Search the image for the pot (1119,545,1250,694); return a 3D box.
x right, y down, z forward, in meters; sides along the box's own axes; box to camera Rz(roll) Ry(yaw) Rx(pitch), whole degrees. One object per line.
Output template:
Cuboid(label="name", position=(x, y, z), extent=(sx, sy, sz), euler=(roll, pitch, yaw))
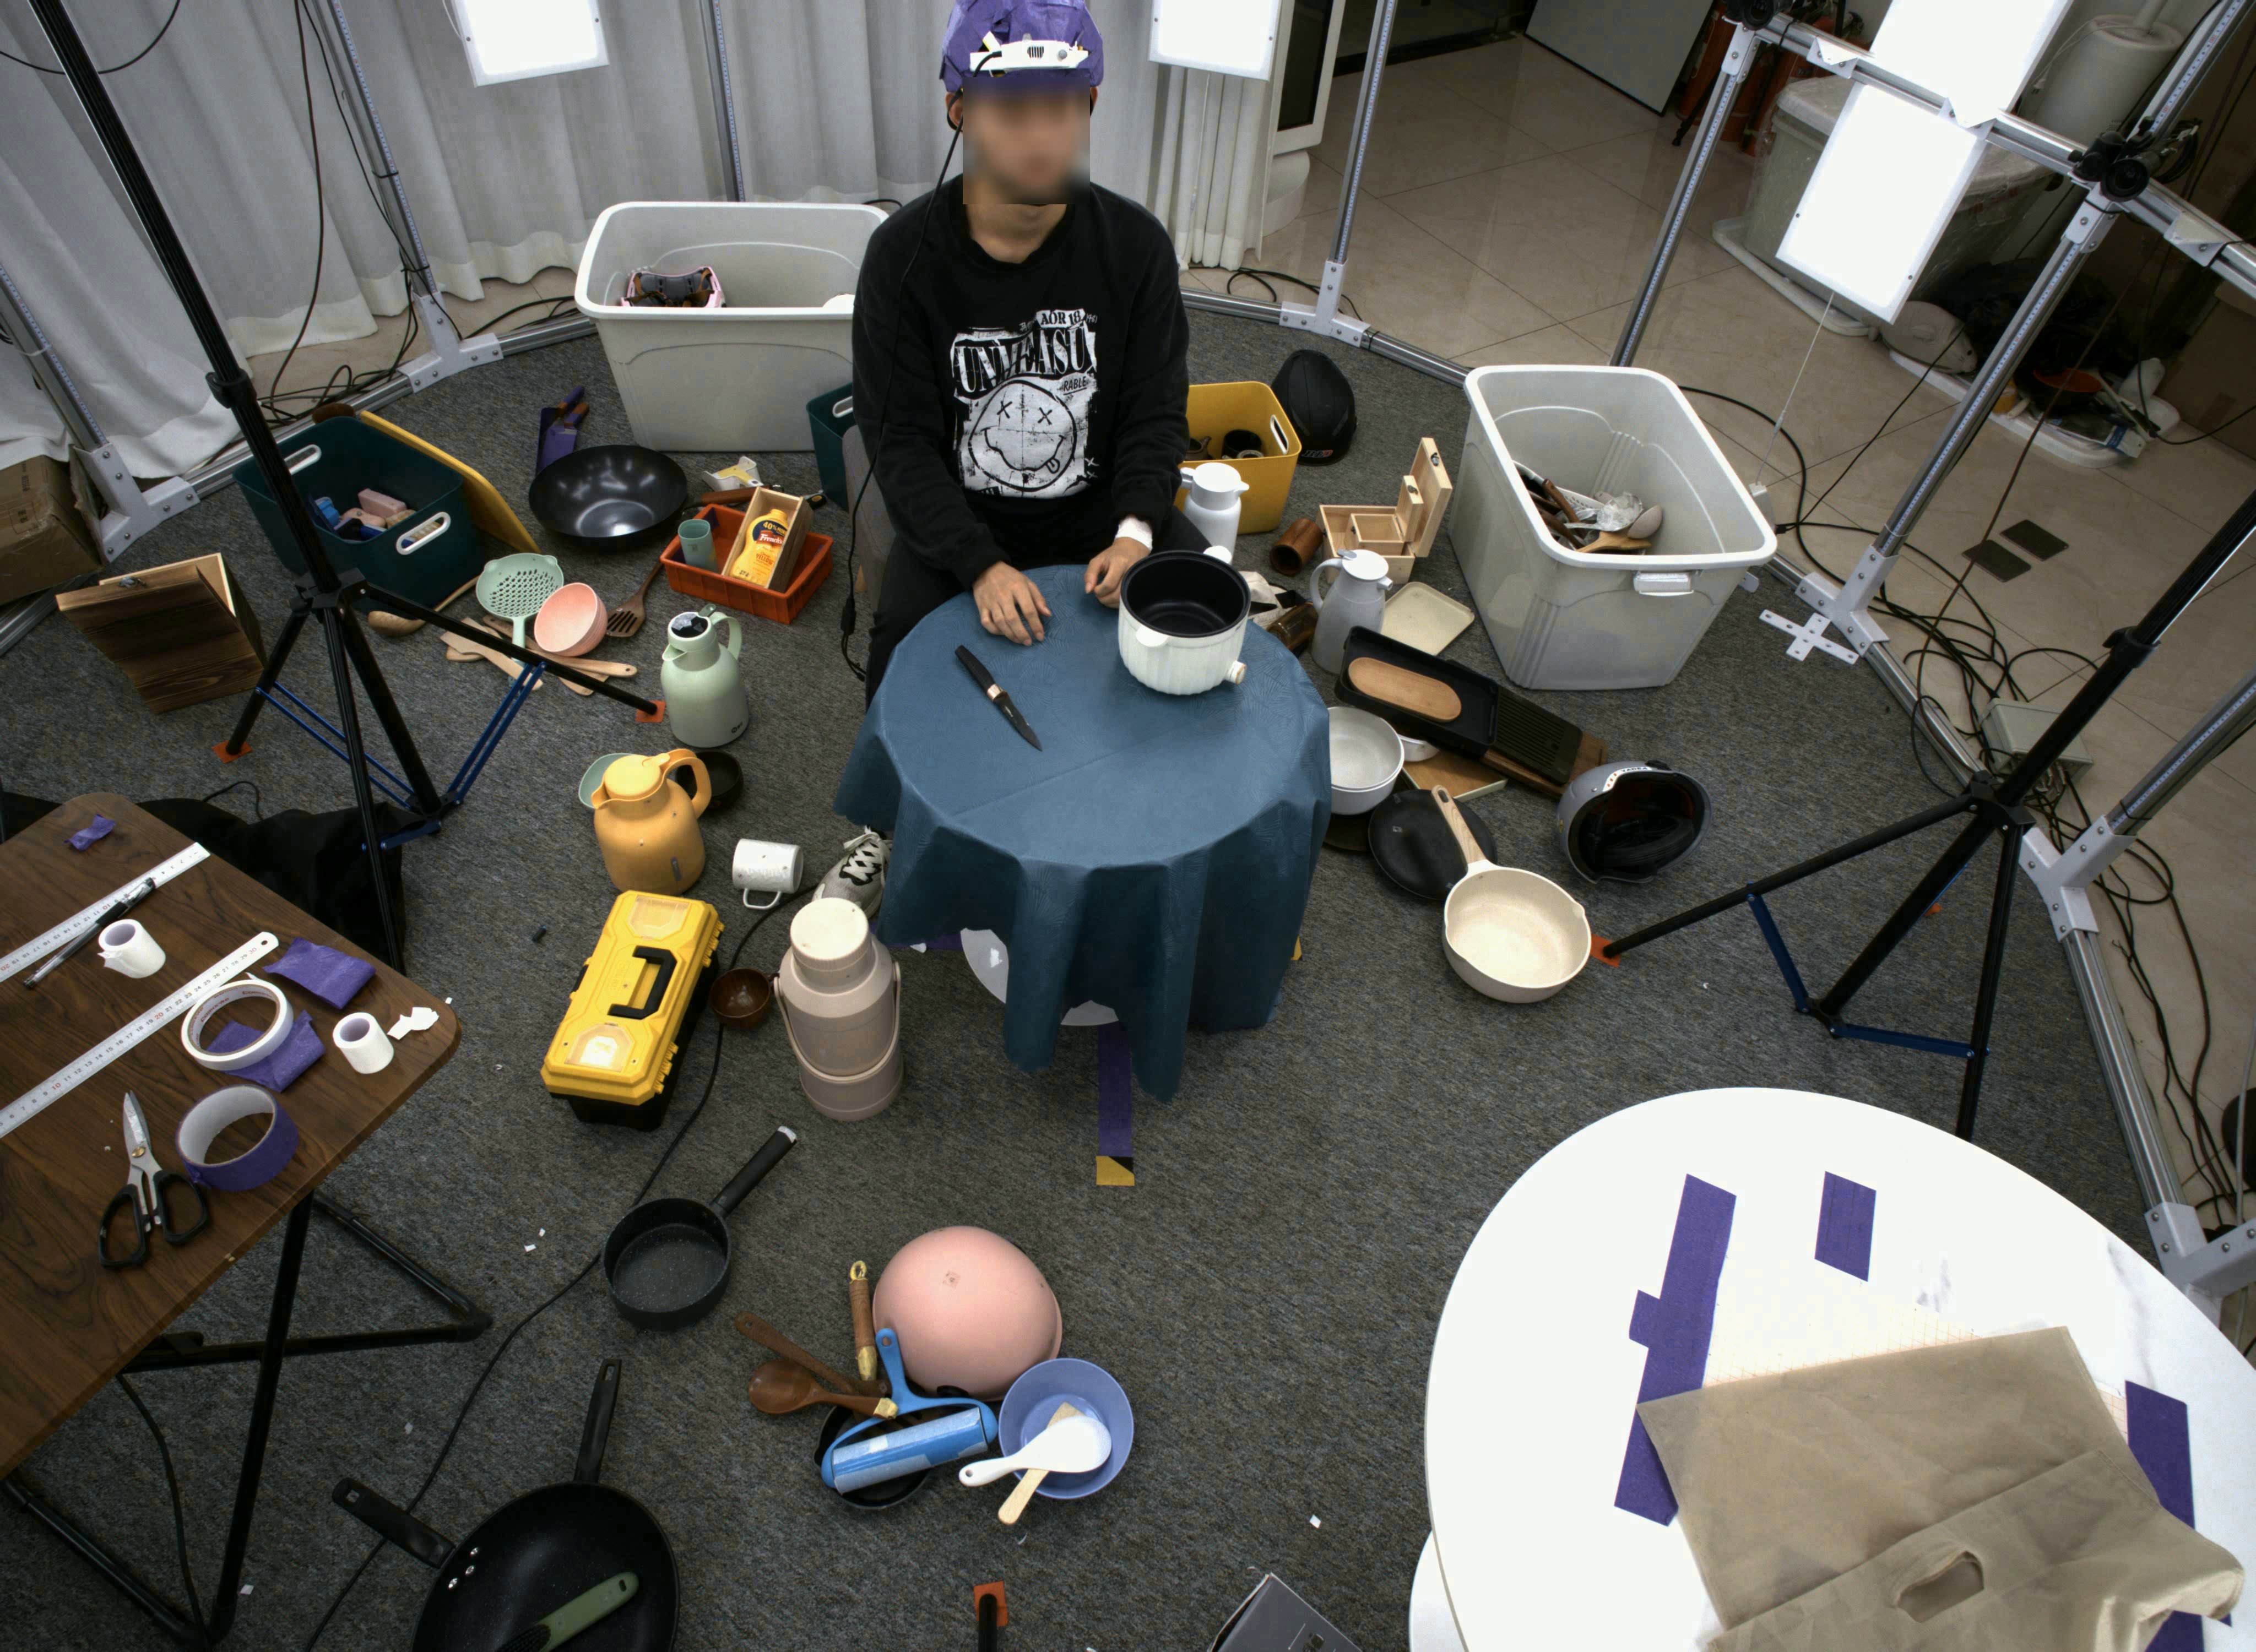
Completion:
Cuboid(label="pot", position=(0.081, -0.282, 1.829), extent=(0.192, 0.139, 0.244), euler=(22, 52, 19))

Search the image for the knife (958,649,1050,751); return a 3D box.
Cuboid(label="knife", position=(-0.176, -0.178, 1.807), extent=(0.026, 0.017, 0.230), euler=(-15, 51, -36))
